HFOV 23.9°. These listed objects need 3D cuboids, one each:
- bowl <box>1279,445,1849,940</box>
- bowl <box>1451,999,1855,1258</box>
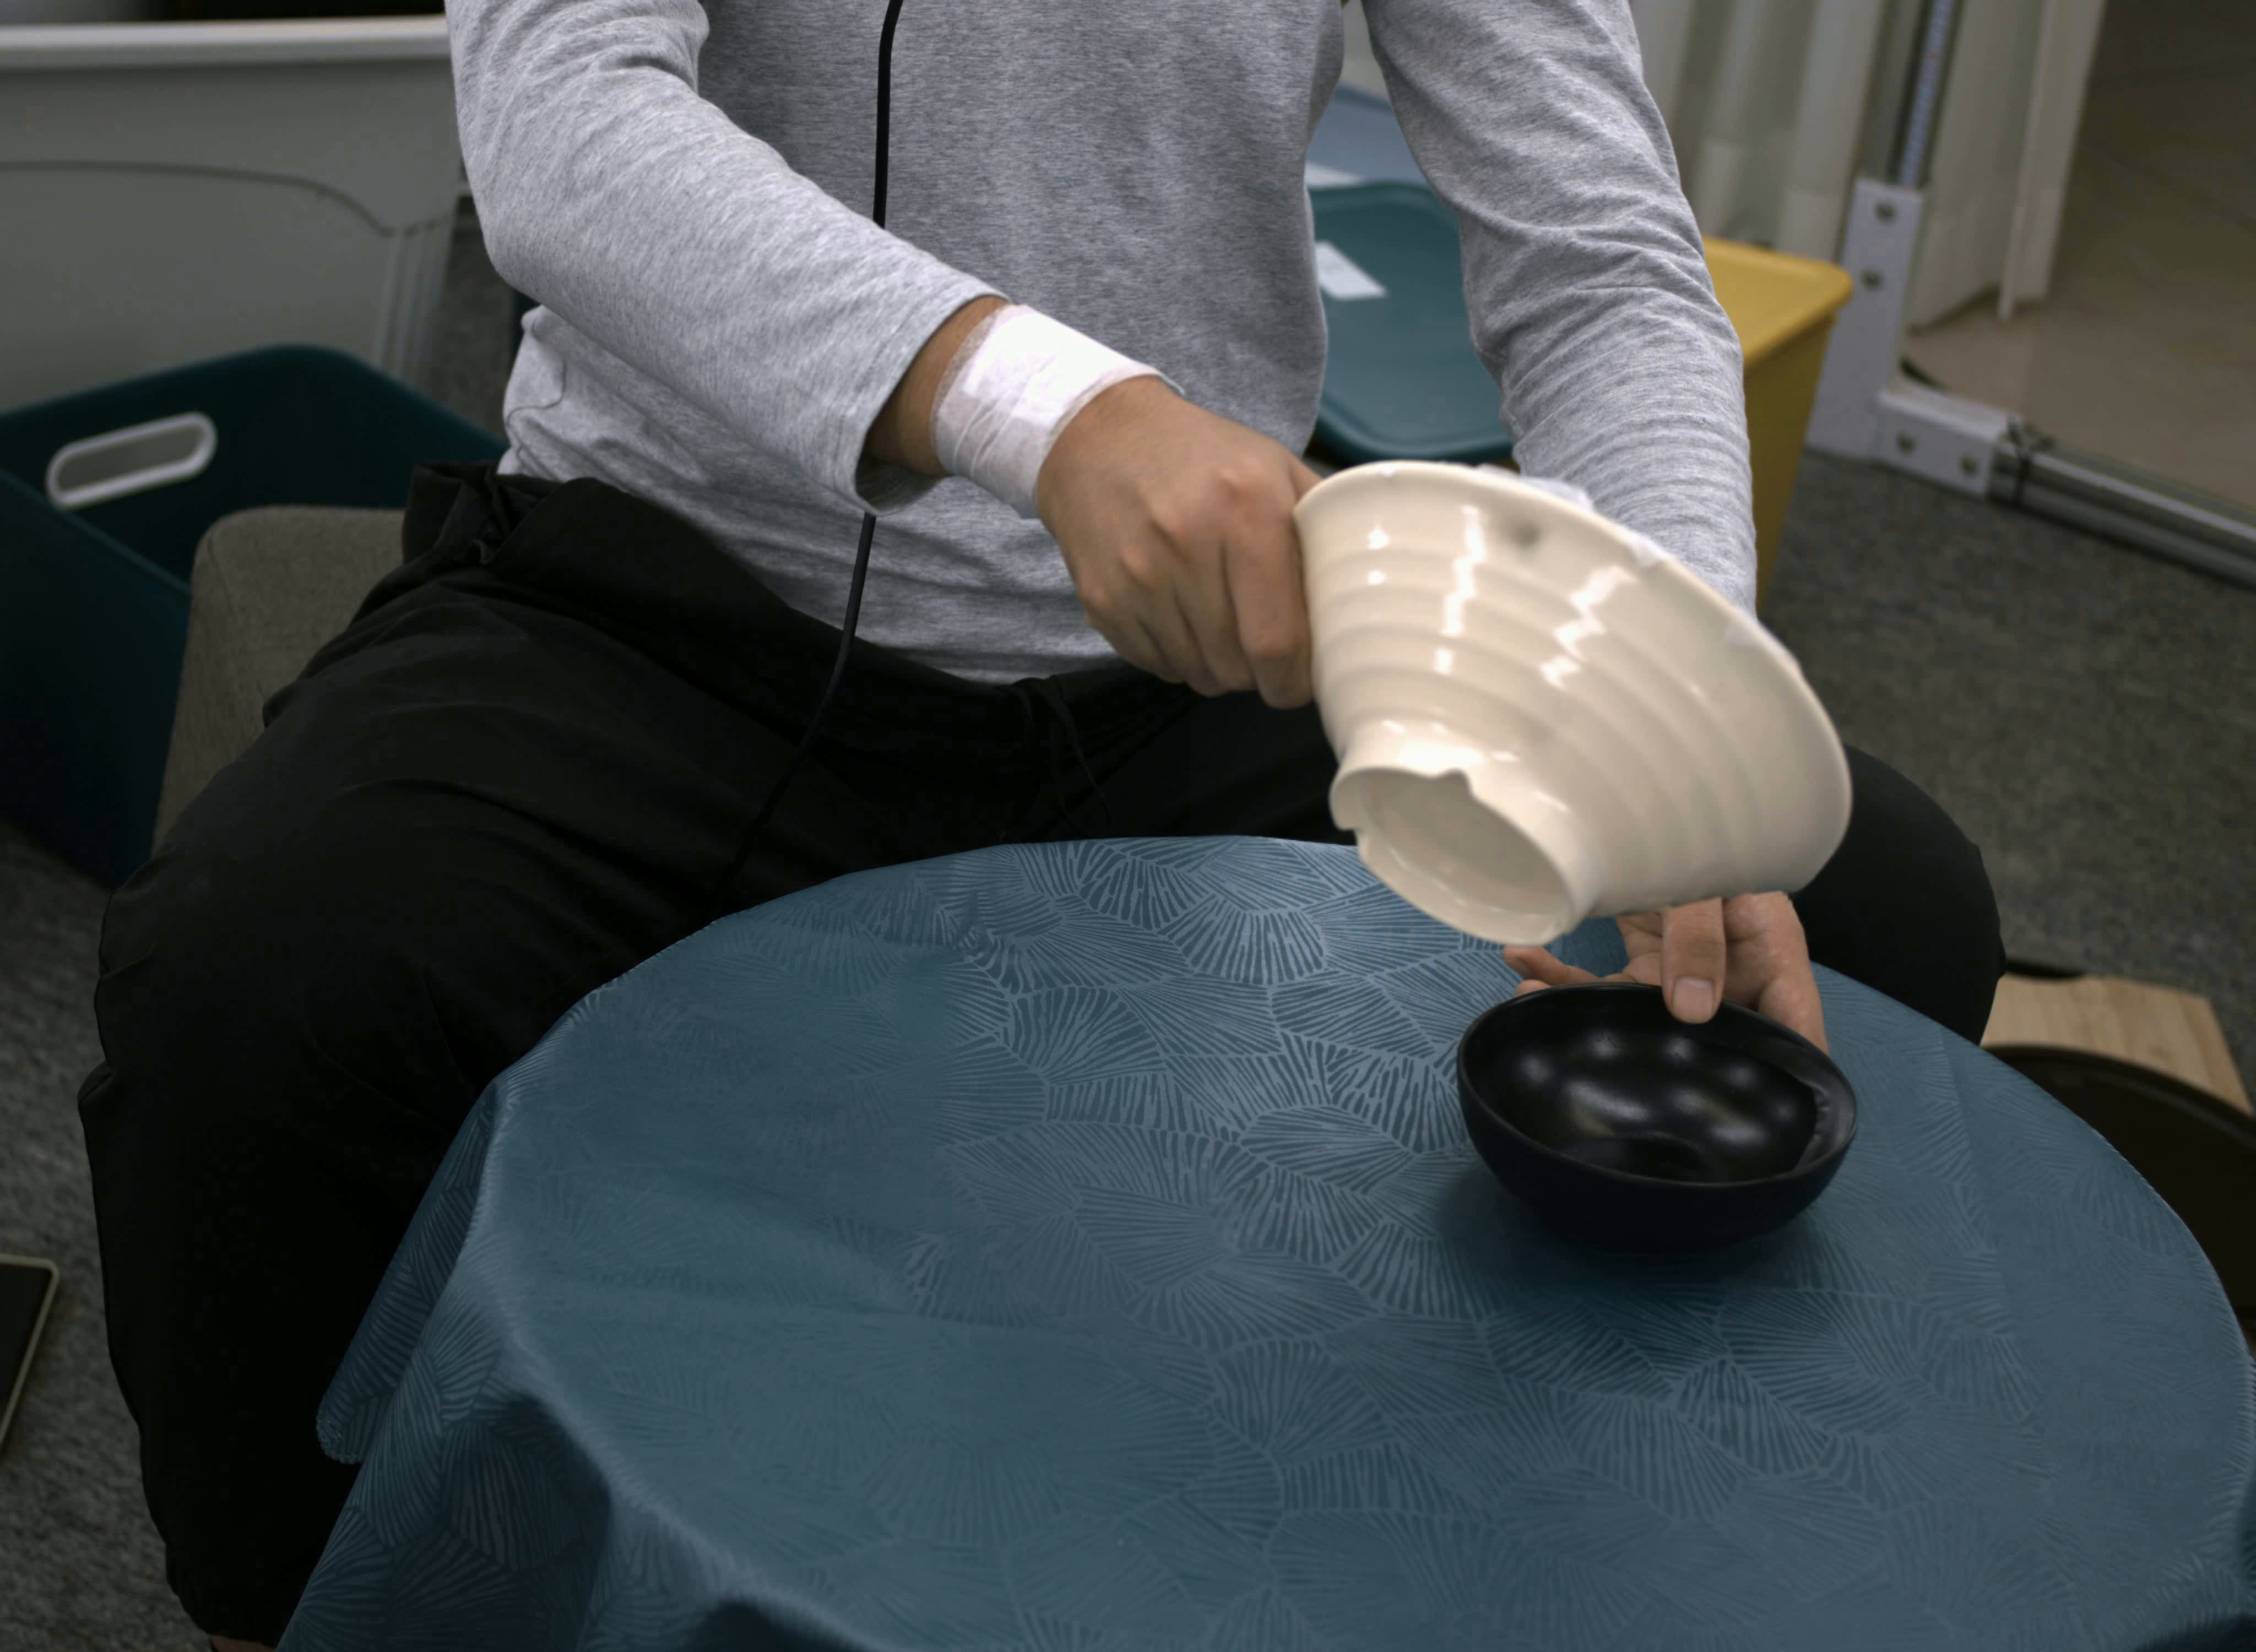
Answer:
[{"bbox_3d":[0.118,-0.021,1.666,0.205,0.202,0.078,21,61,26],"label":"bowl"},{"bbox_3d":[0.177,0.111,1.825,0.139,0.049,0.141,5,22,-2],"label":"bowl"}]
